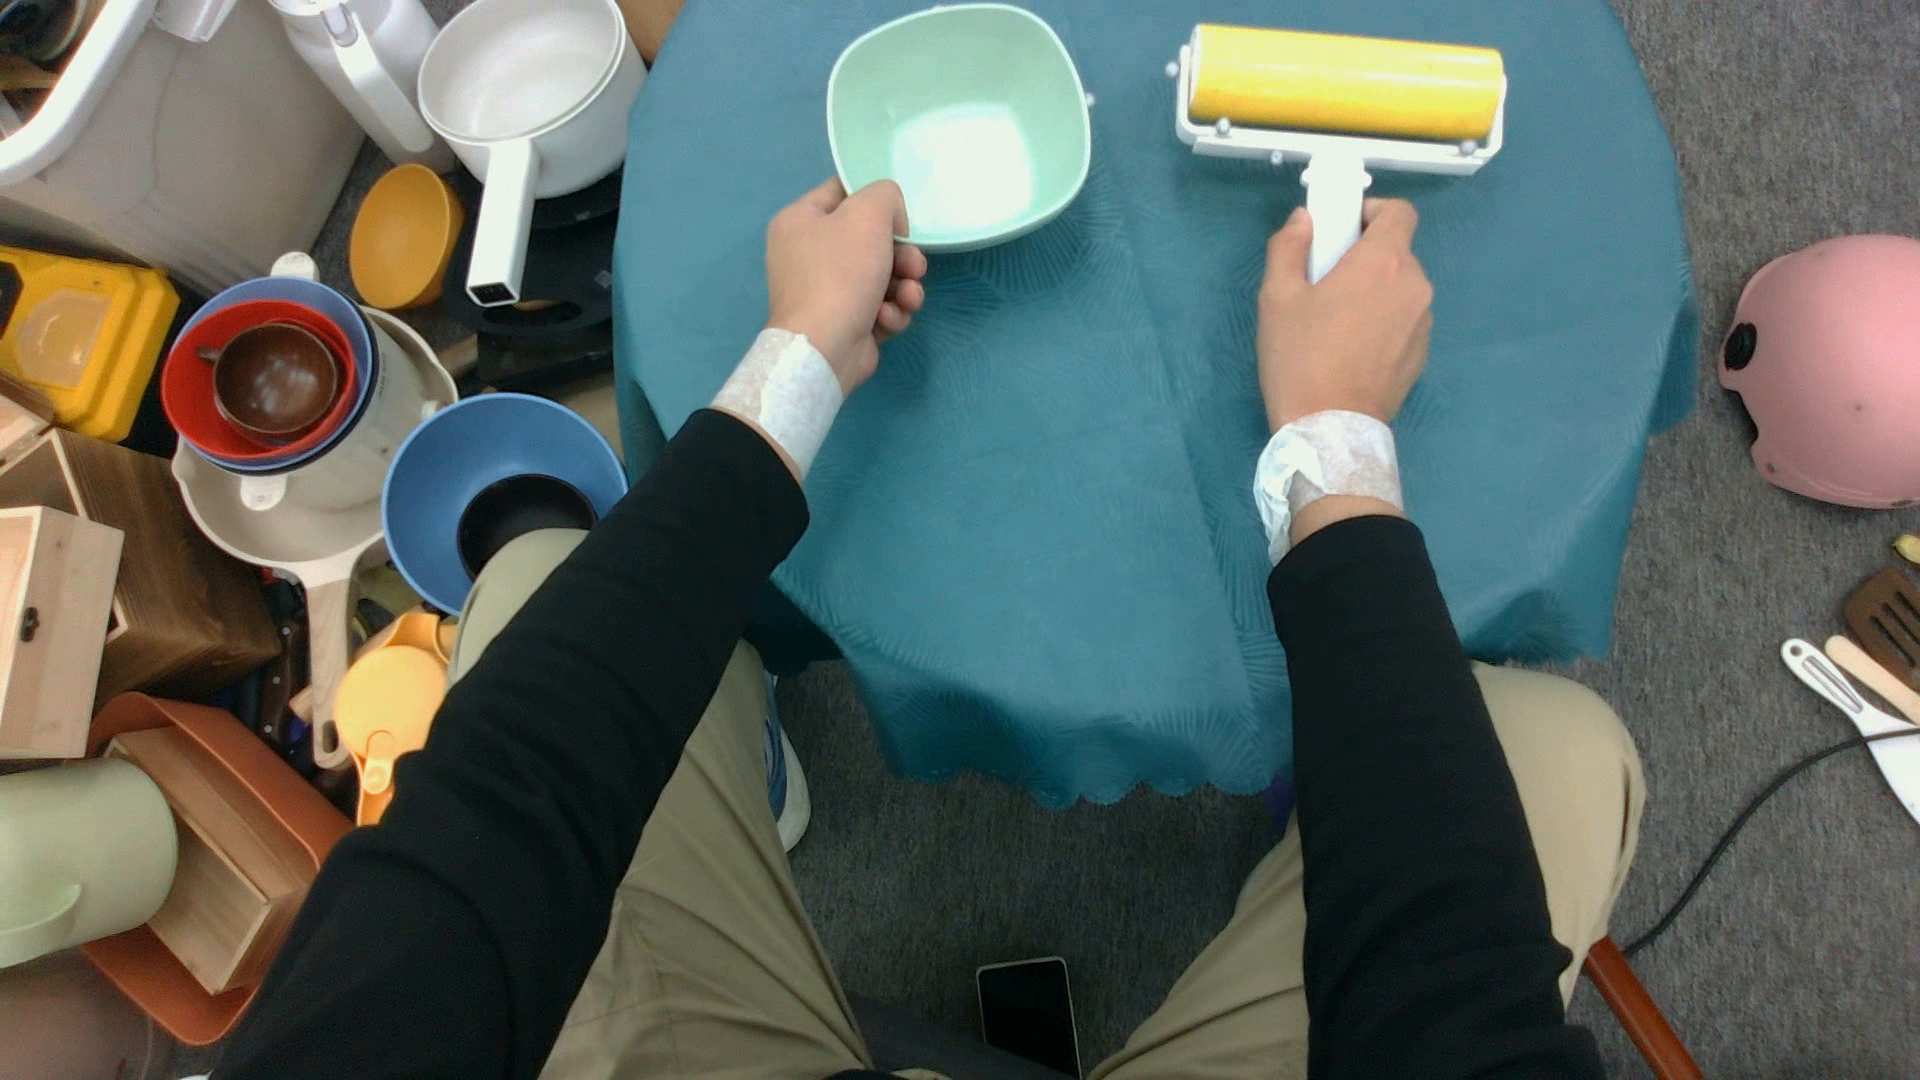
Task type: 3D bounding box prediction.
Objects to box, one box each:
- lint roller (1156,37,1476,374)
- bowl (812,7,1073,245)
[{"bbox_3d":[0.193,-0.184,0.735,0.174,0.051,0.192,2,66,0],"label":"lint roller"},{"bbox_3d":[-0.009,-0.219,0.765,0.151,0.058,0.152,0,74,1],"label":"bowl"}]
